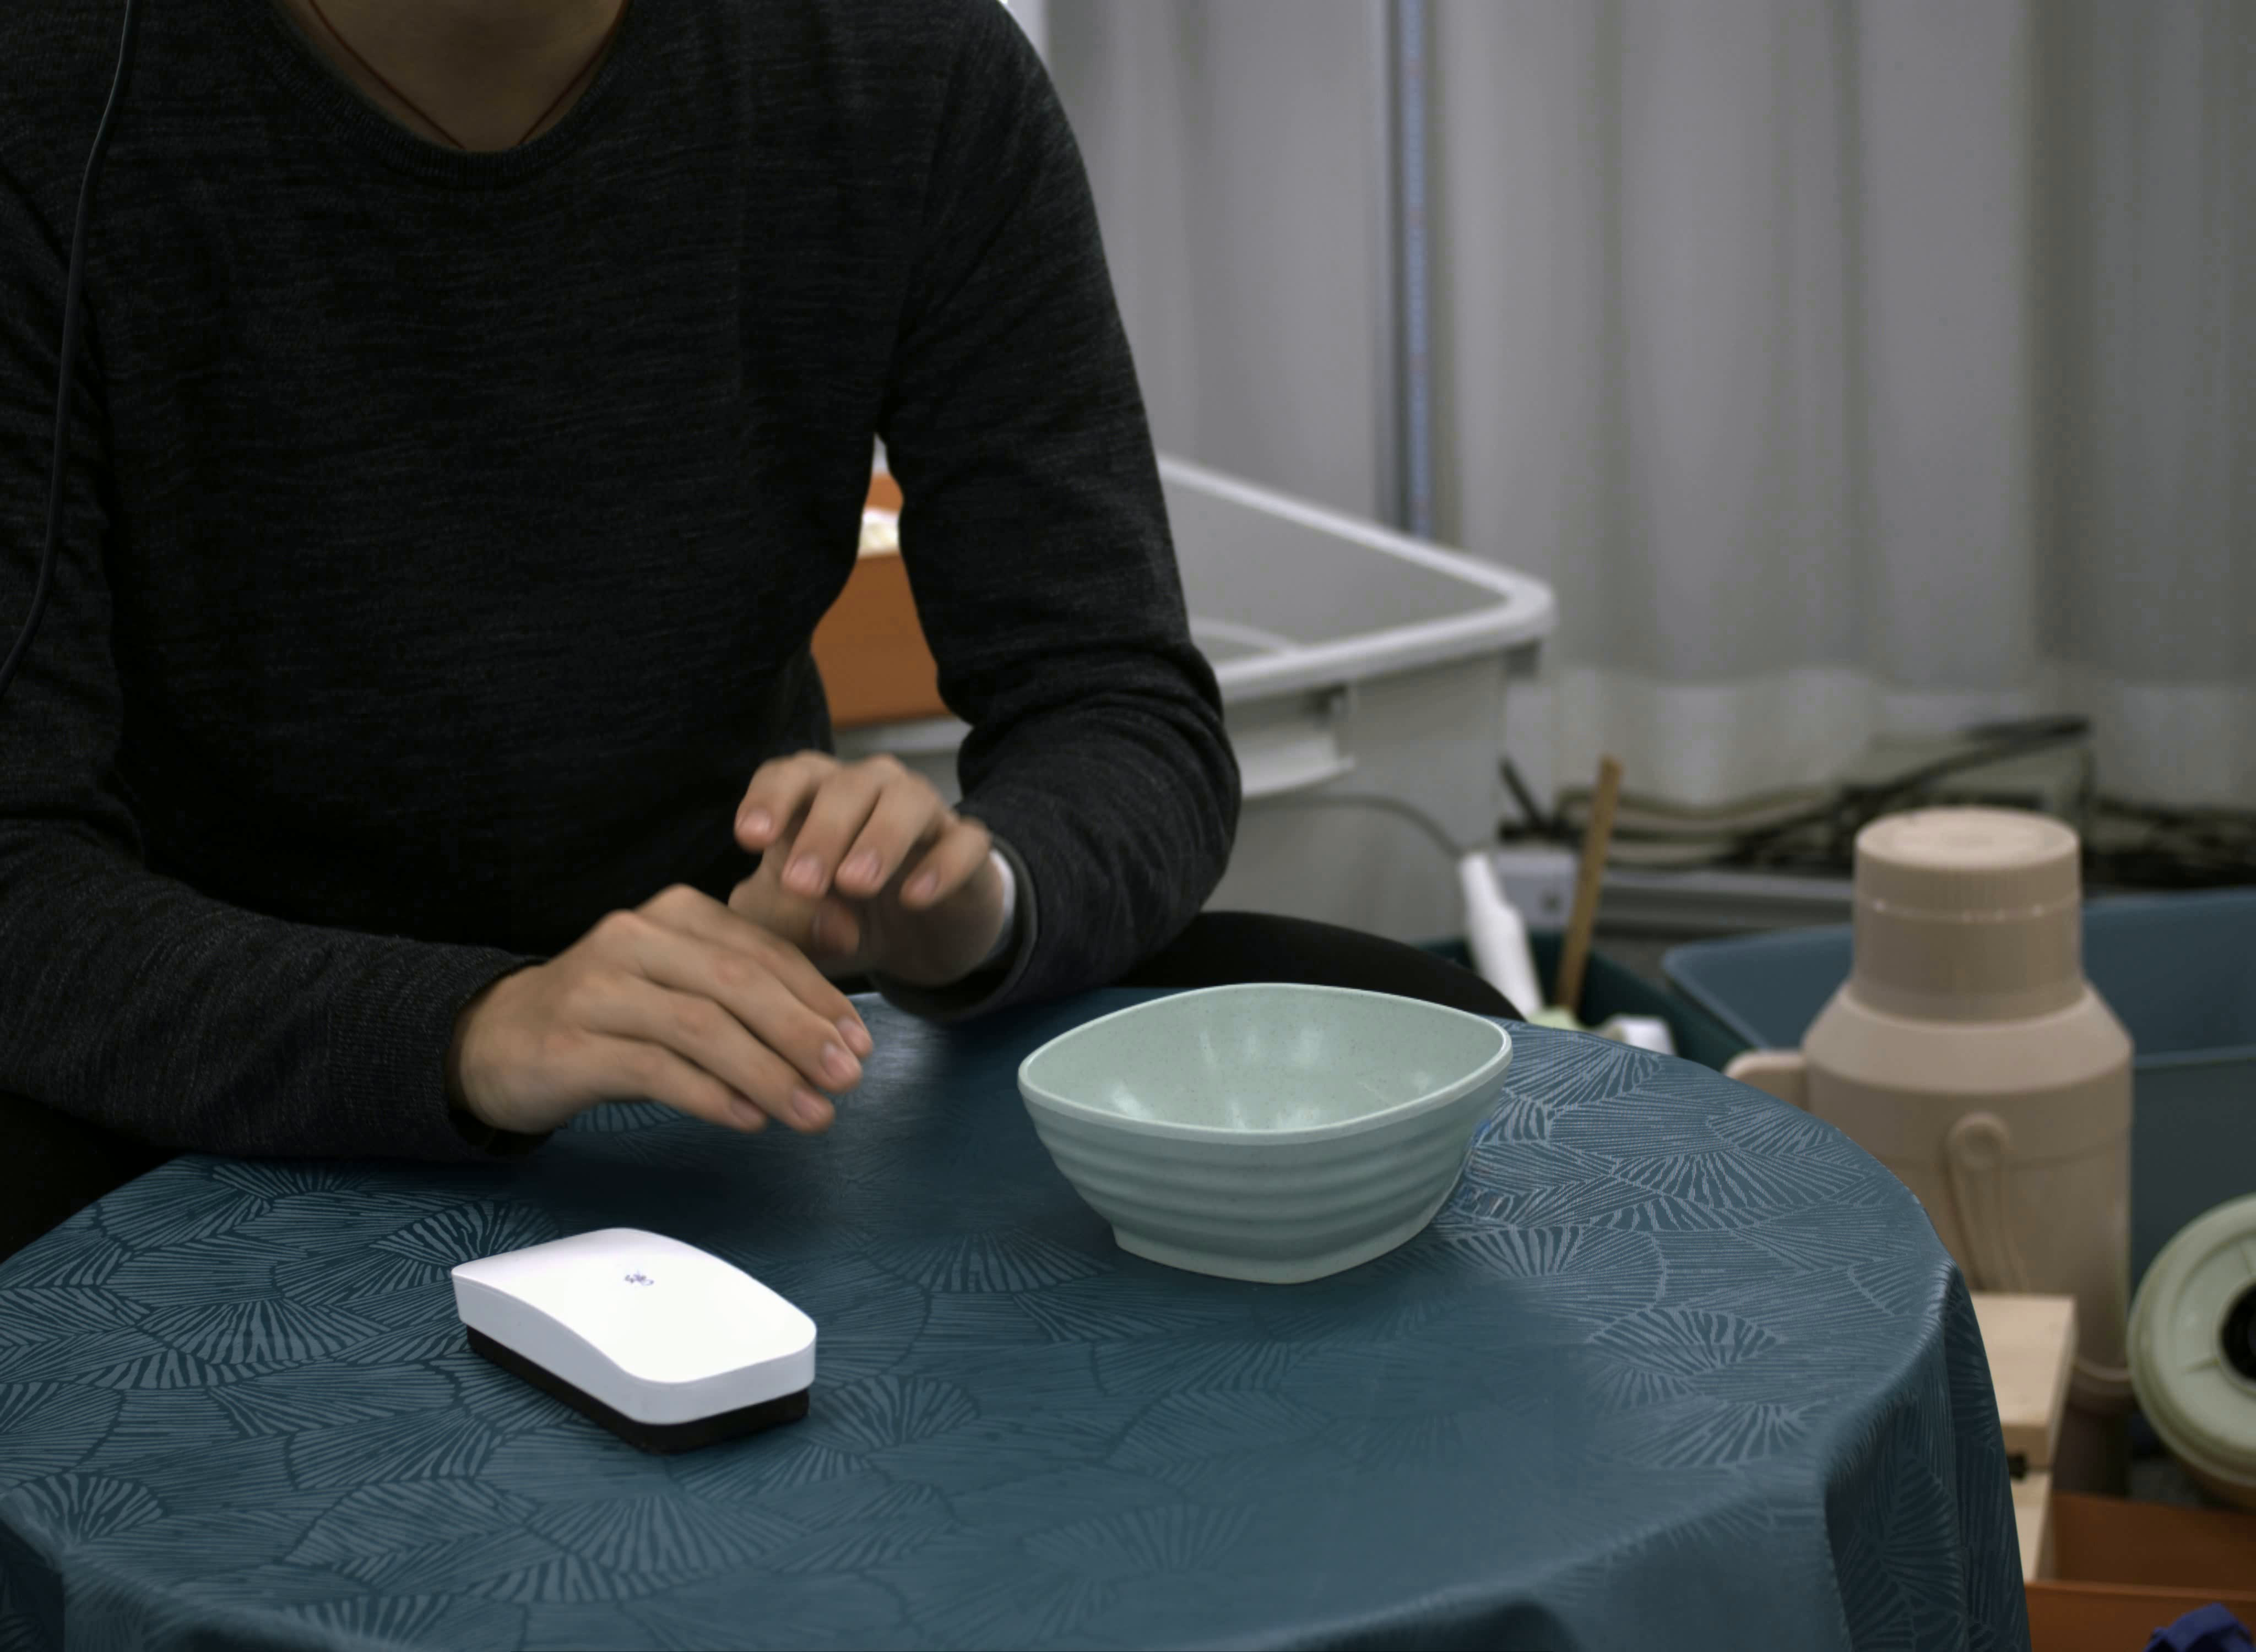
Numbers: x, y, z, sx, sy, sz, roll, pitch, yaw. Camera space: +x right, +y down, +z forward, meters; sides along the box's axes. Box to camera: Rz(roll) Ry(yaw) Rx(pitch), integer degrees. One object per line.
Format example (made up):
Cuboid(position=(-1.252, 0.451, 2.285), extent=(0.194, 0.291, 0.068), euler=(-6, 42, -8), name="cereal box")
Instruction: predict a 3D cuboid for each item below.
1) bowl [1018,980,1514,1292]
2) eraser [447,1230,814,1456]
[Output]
Cuboid(position=(0.043, 0.097, 1.664), extent=(0.151, 0.058, 0.152), euler=(-2, 16, 0), name="bowl")
Cuboid(position=(-0.143, 0.144, 1.571), extent=(0.063, 0.034, 0.132), euler=(-9, 17, -32), name="eraser")
